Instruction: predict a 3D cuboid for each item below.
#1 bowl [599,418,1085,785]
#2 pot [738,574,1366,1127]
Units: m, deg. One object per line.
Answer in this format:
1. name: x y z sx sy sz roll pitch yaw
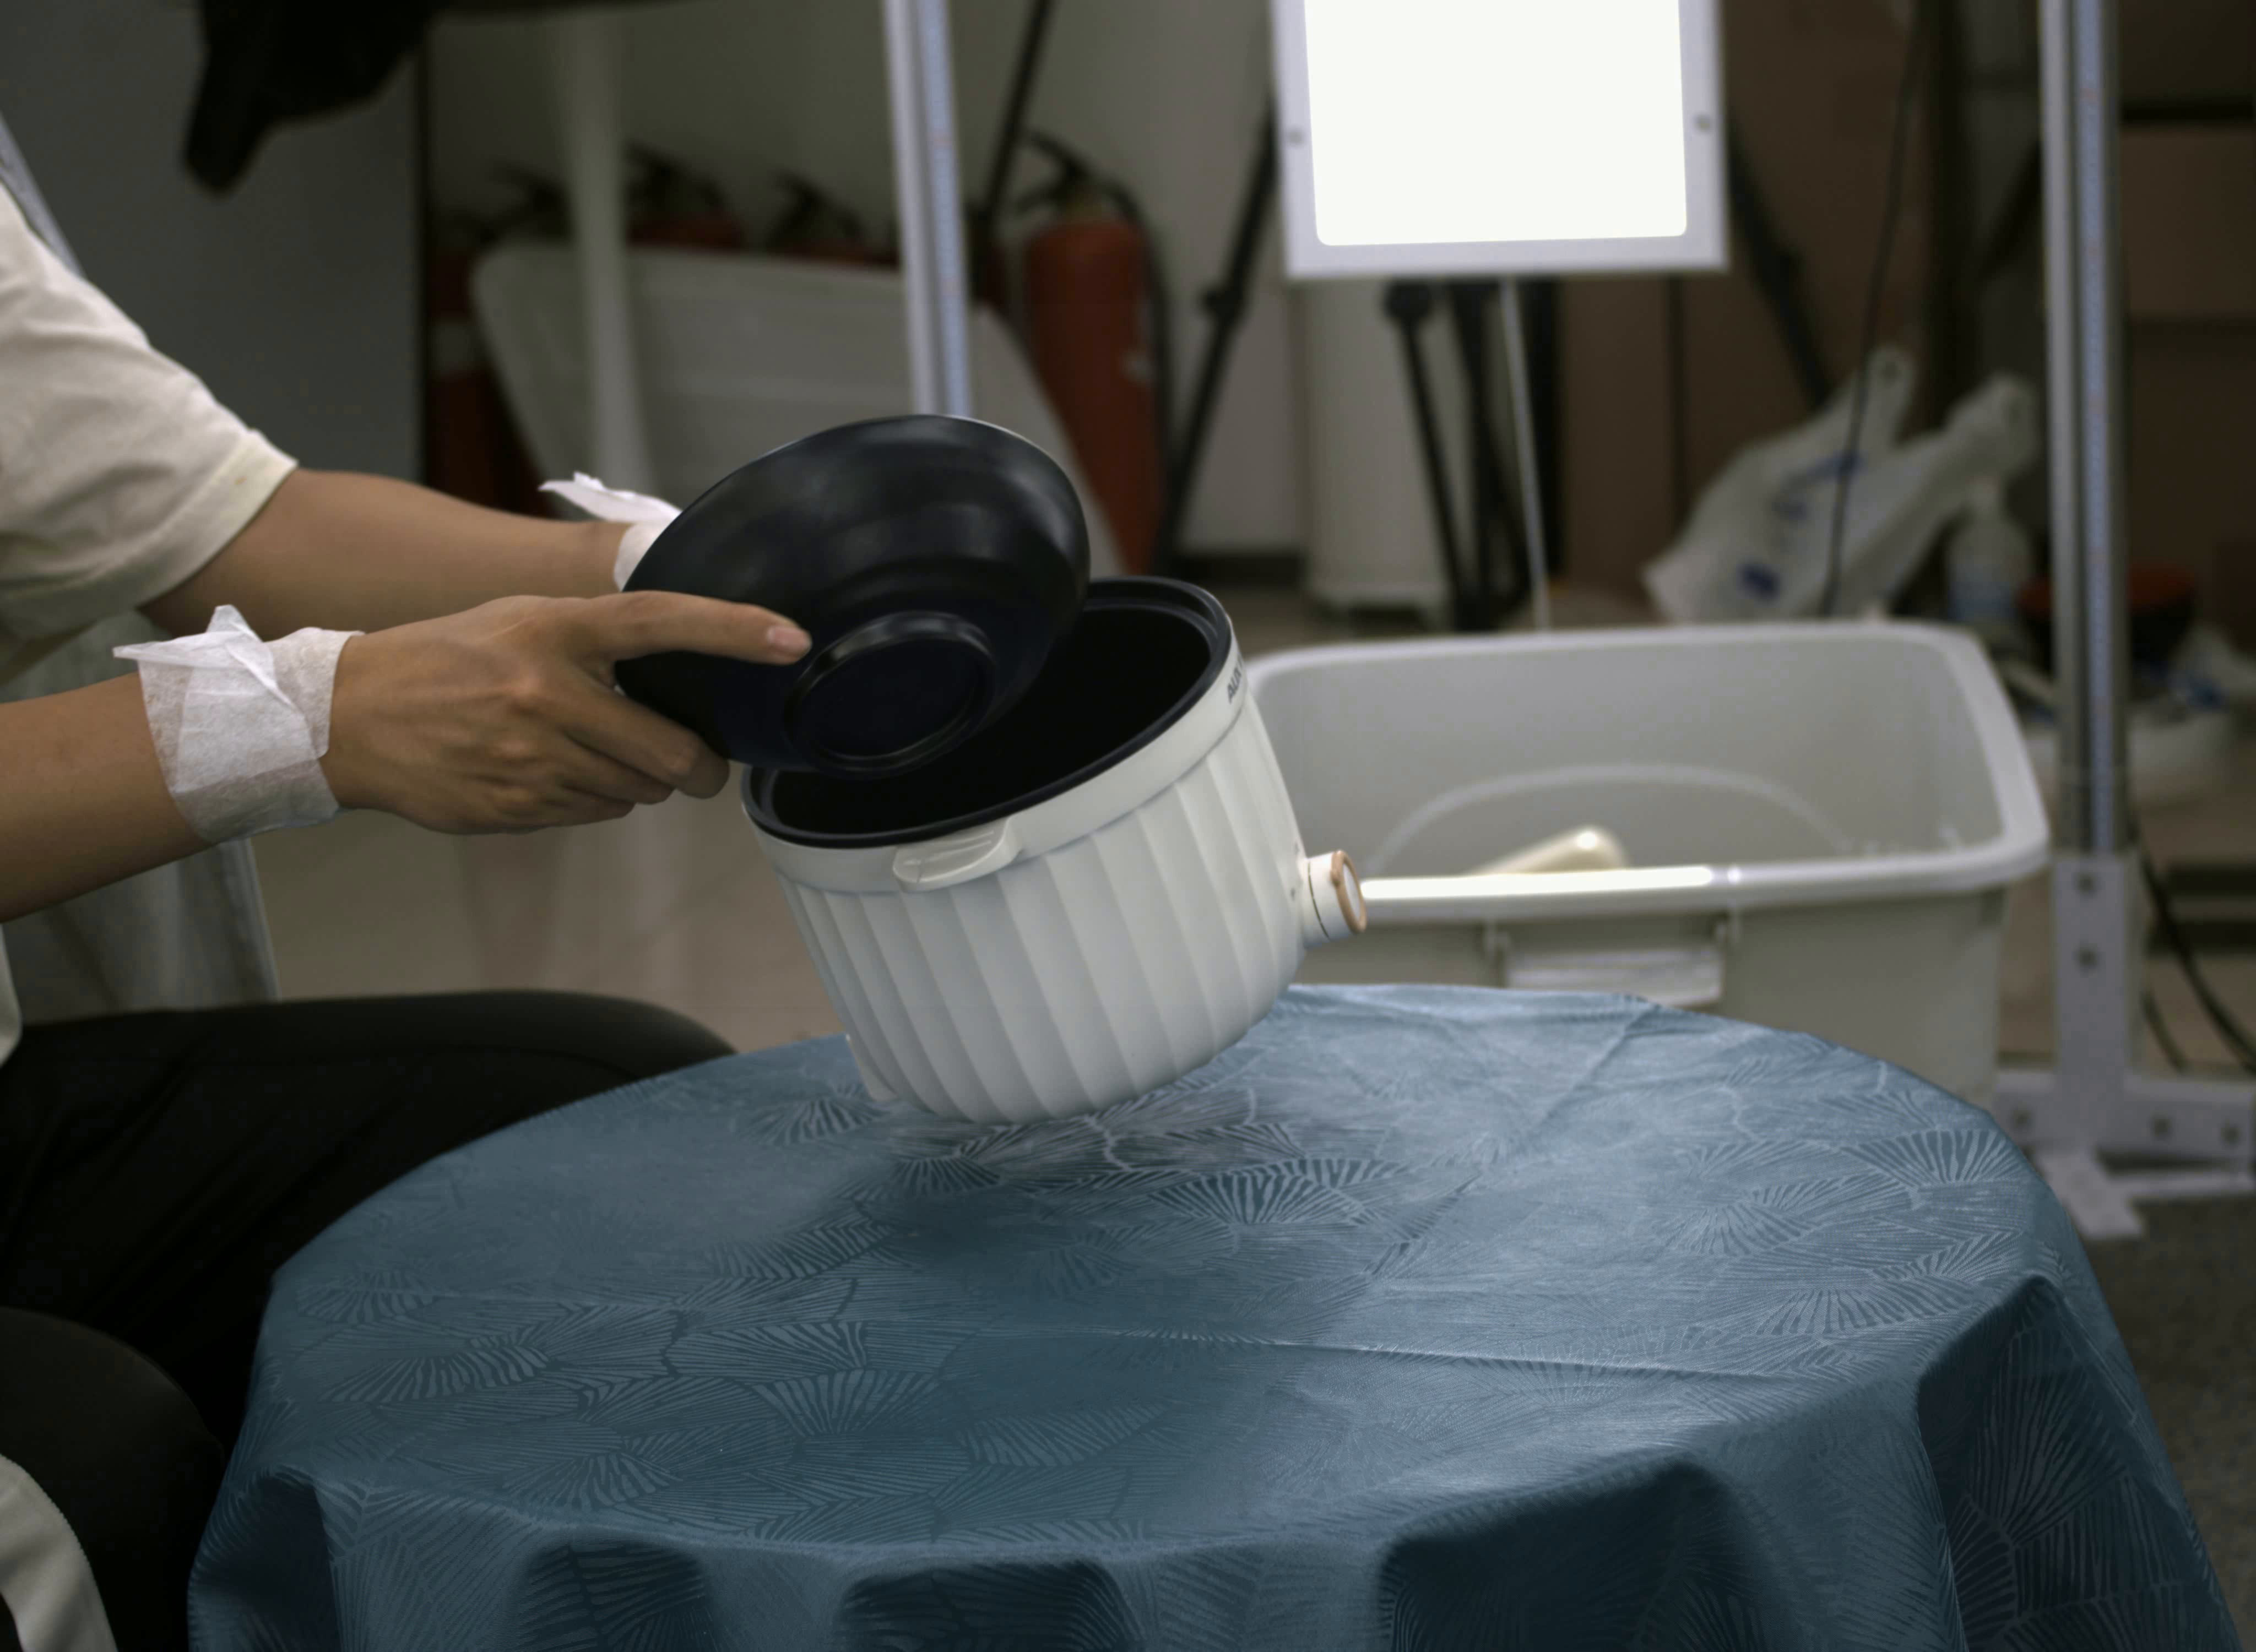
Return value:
1. bowl: -0.084 -0.061 1.769 0.167 0.139 0.067 -7 51 -23
2. pot: -0.024 0.012 1.935 0.192 0.142 0.238 -18 25 16
